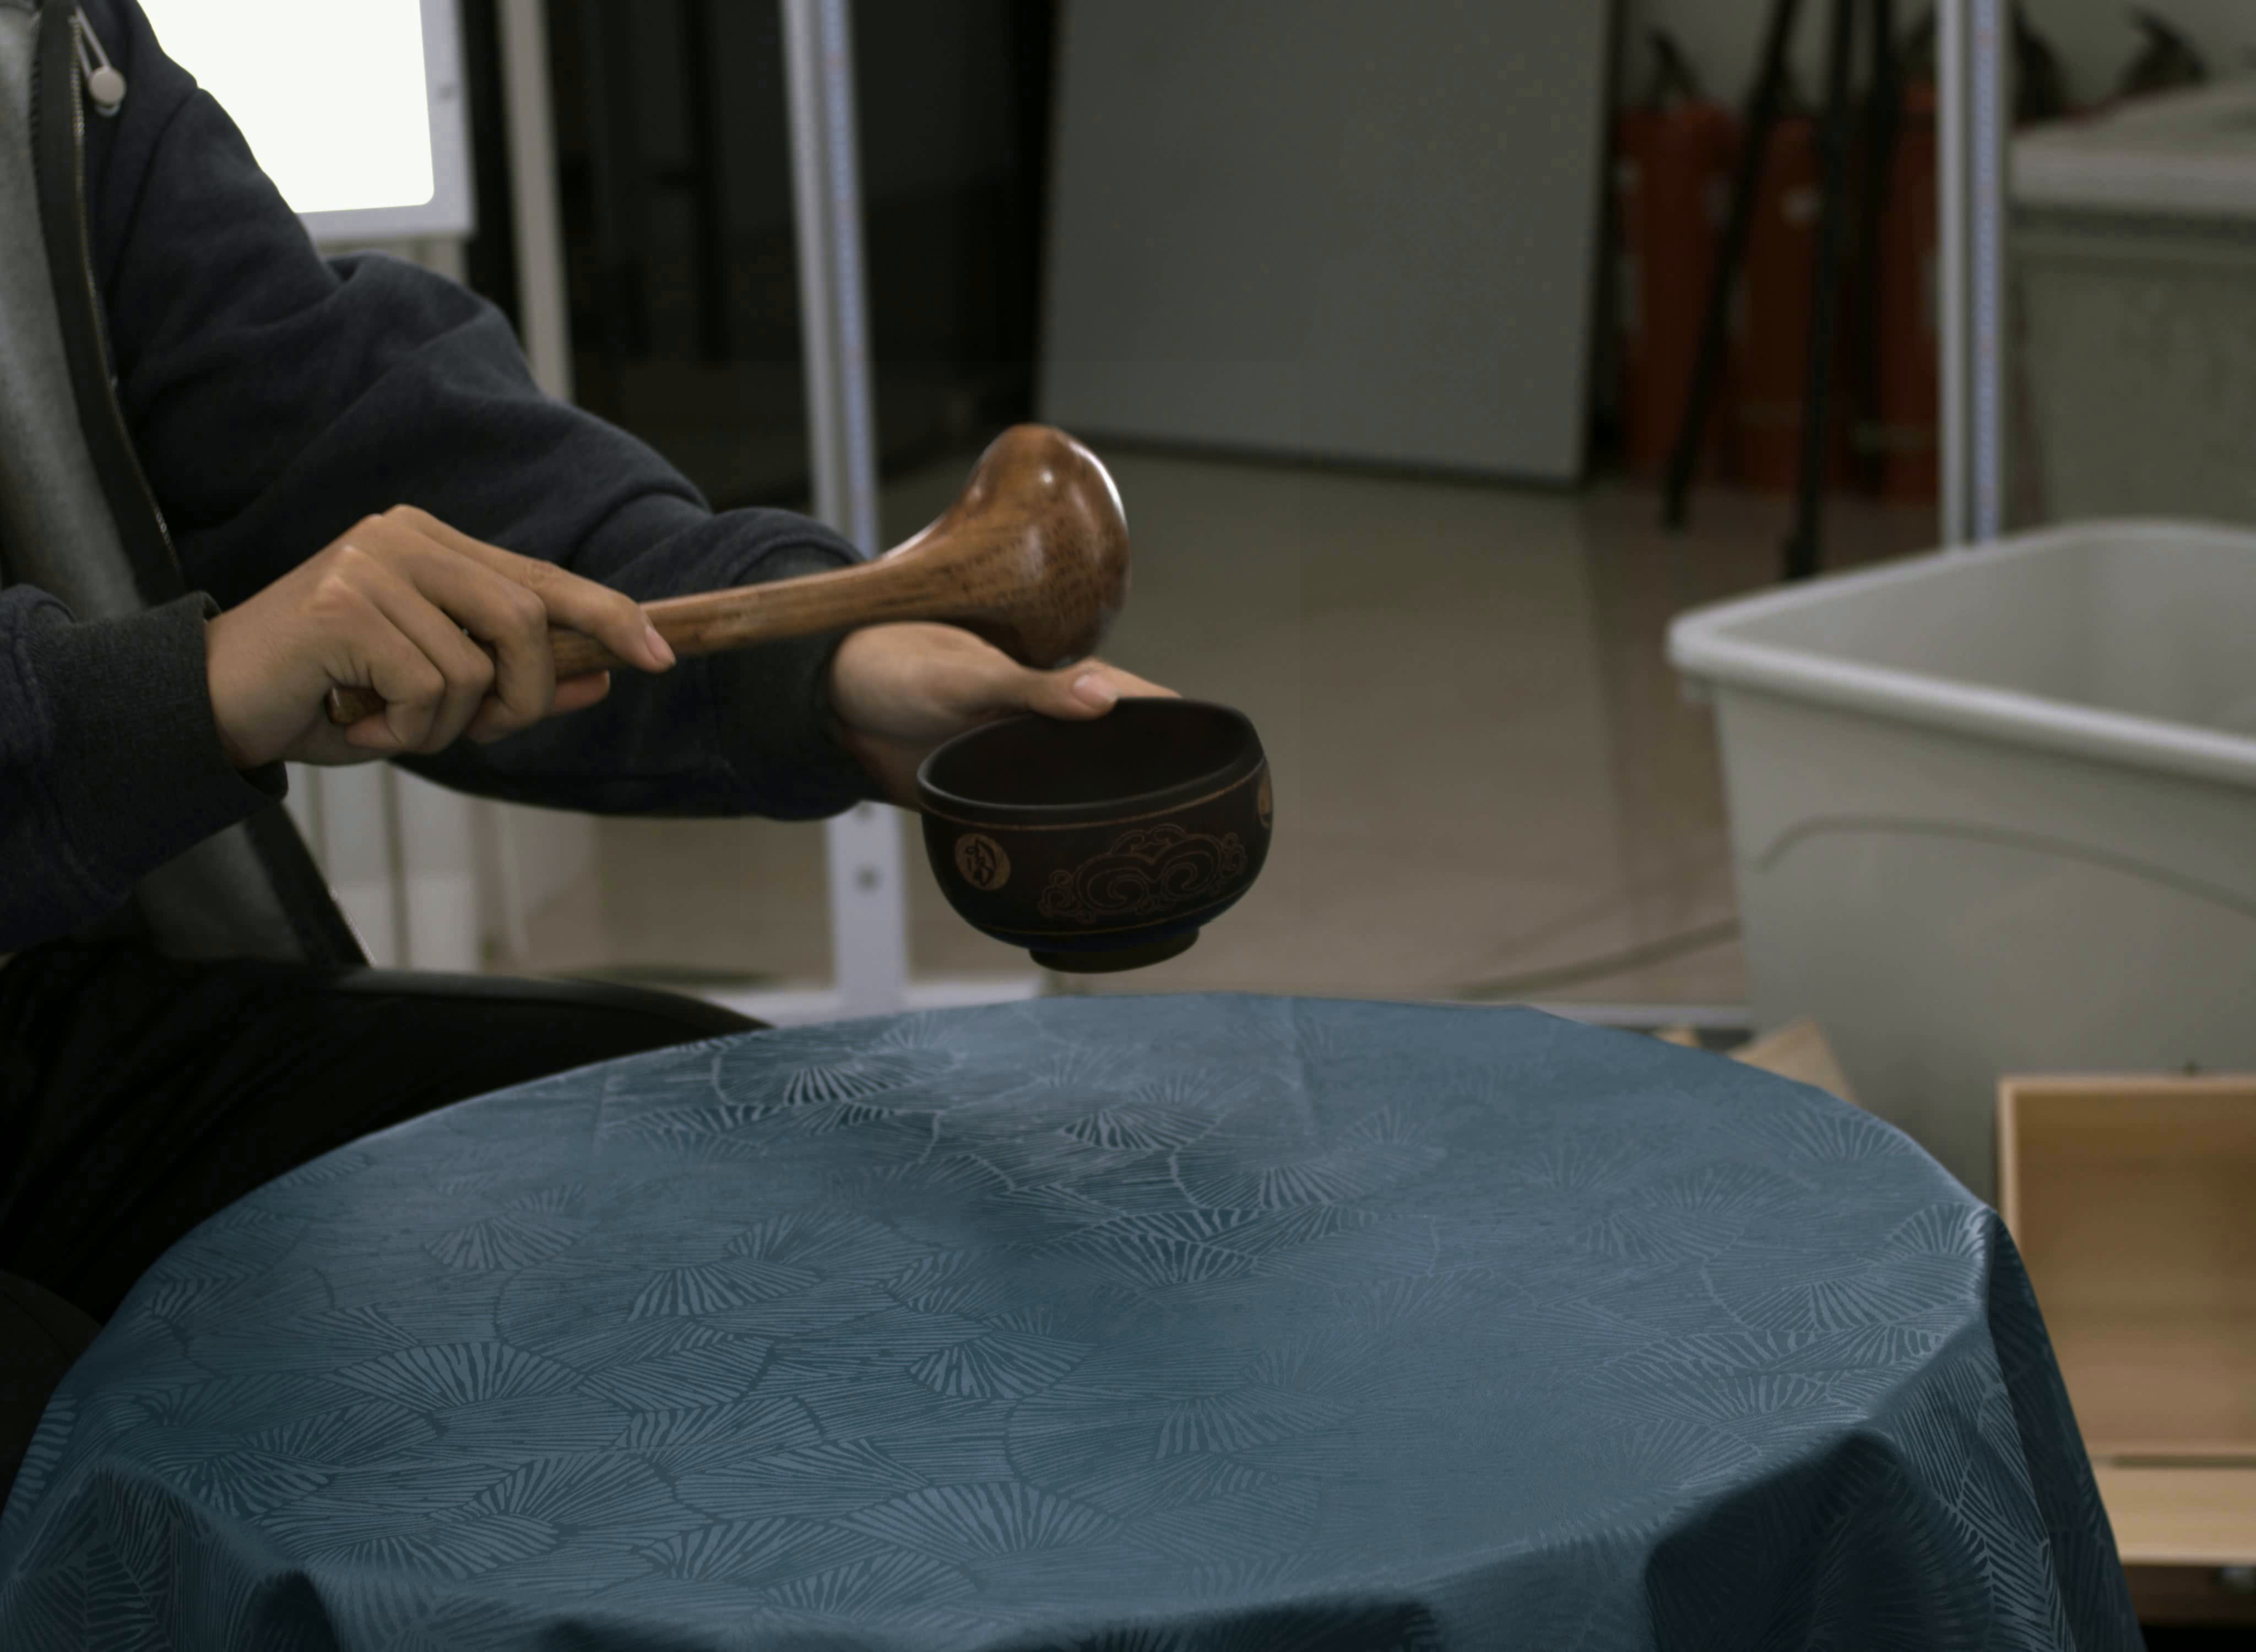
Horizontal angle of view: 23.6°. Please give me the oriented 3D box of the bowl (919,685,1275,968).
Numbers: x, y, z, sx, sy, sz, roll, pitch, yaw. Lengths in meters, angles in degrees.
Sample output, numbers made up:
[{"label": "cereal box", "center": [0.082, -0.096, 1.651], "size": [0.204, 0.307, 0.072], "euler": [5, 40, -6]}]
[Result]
[{"label": "bowl", "center": [-0.008, 0.004, 1.779], "size": [0.116, 0.070, 0.118], "euler": [-8, 18, 2]}]

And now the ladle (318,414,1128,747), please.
[{"label": "ladle", "center": [-0.126, -0.070, 1.718], "size": [0.269, 0.083, 0.077], "euler": [-12, 7, -11]}]
